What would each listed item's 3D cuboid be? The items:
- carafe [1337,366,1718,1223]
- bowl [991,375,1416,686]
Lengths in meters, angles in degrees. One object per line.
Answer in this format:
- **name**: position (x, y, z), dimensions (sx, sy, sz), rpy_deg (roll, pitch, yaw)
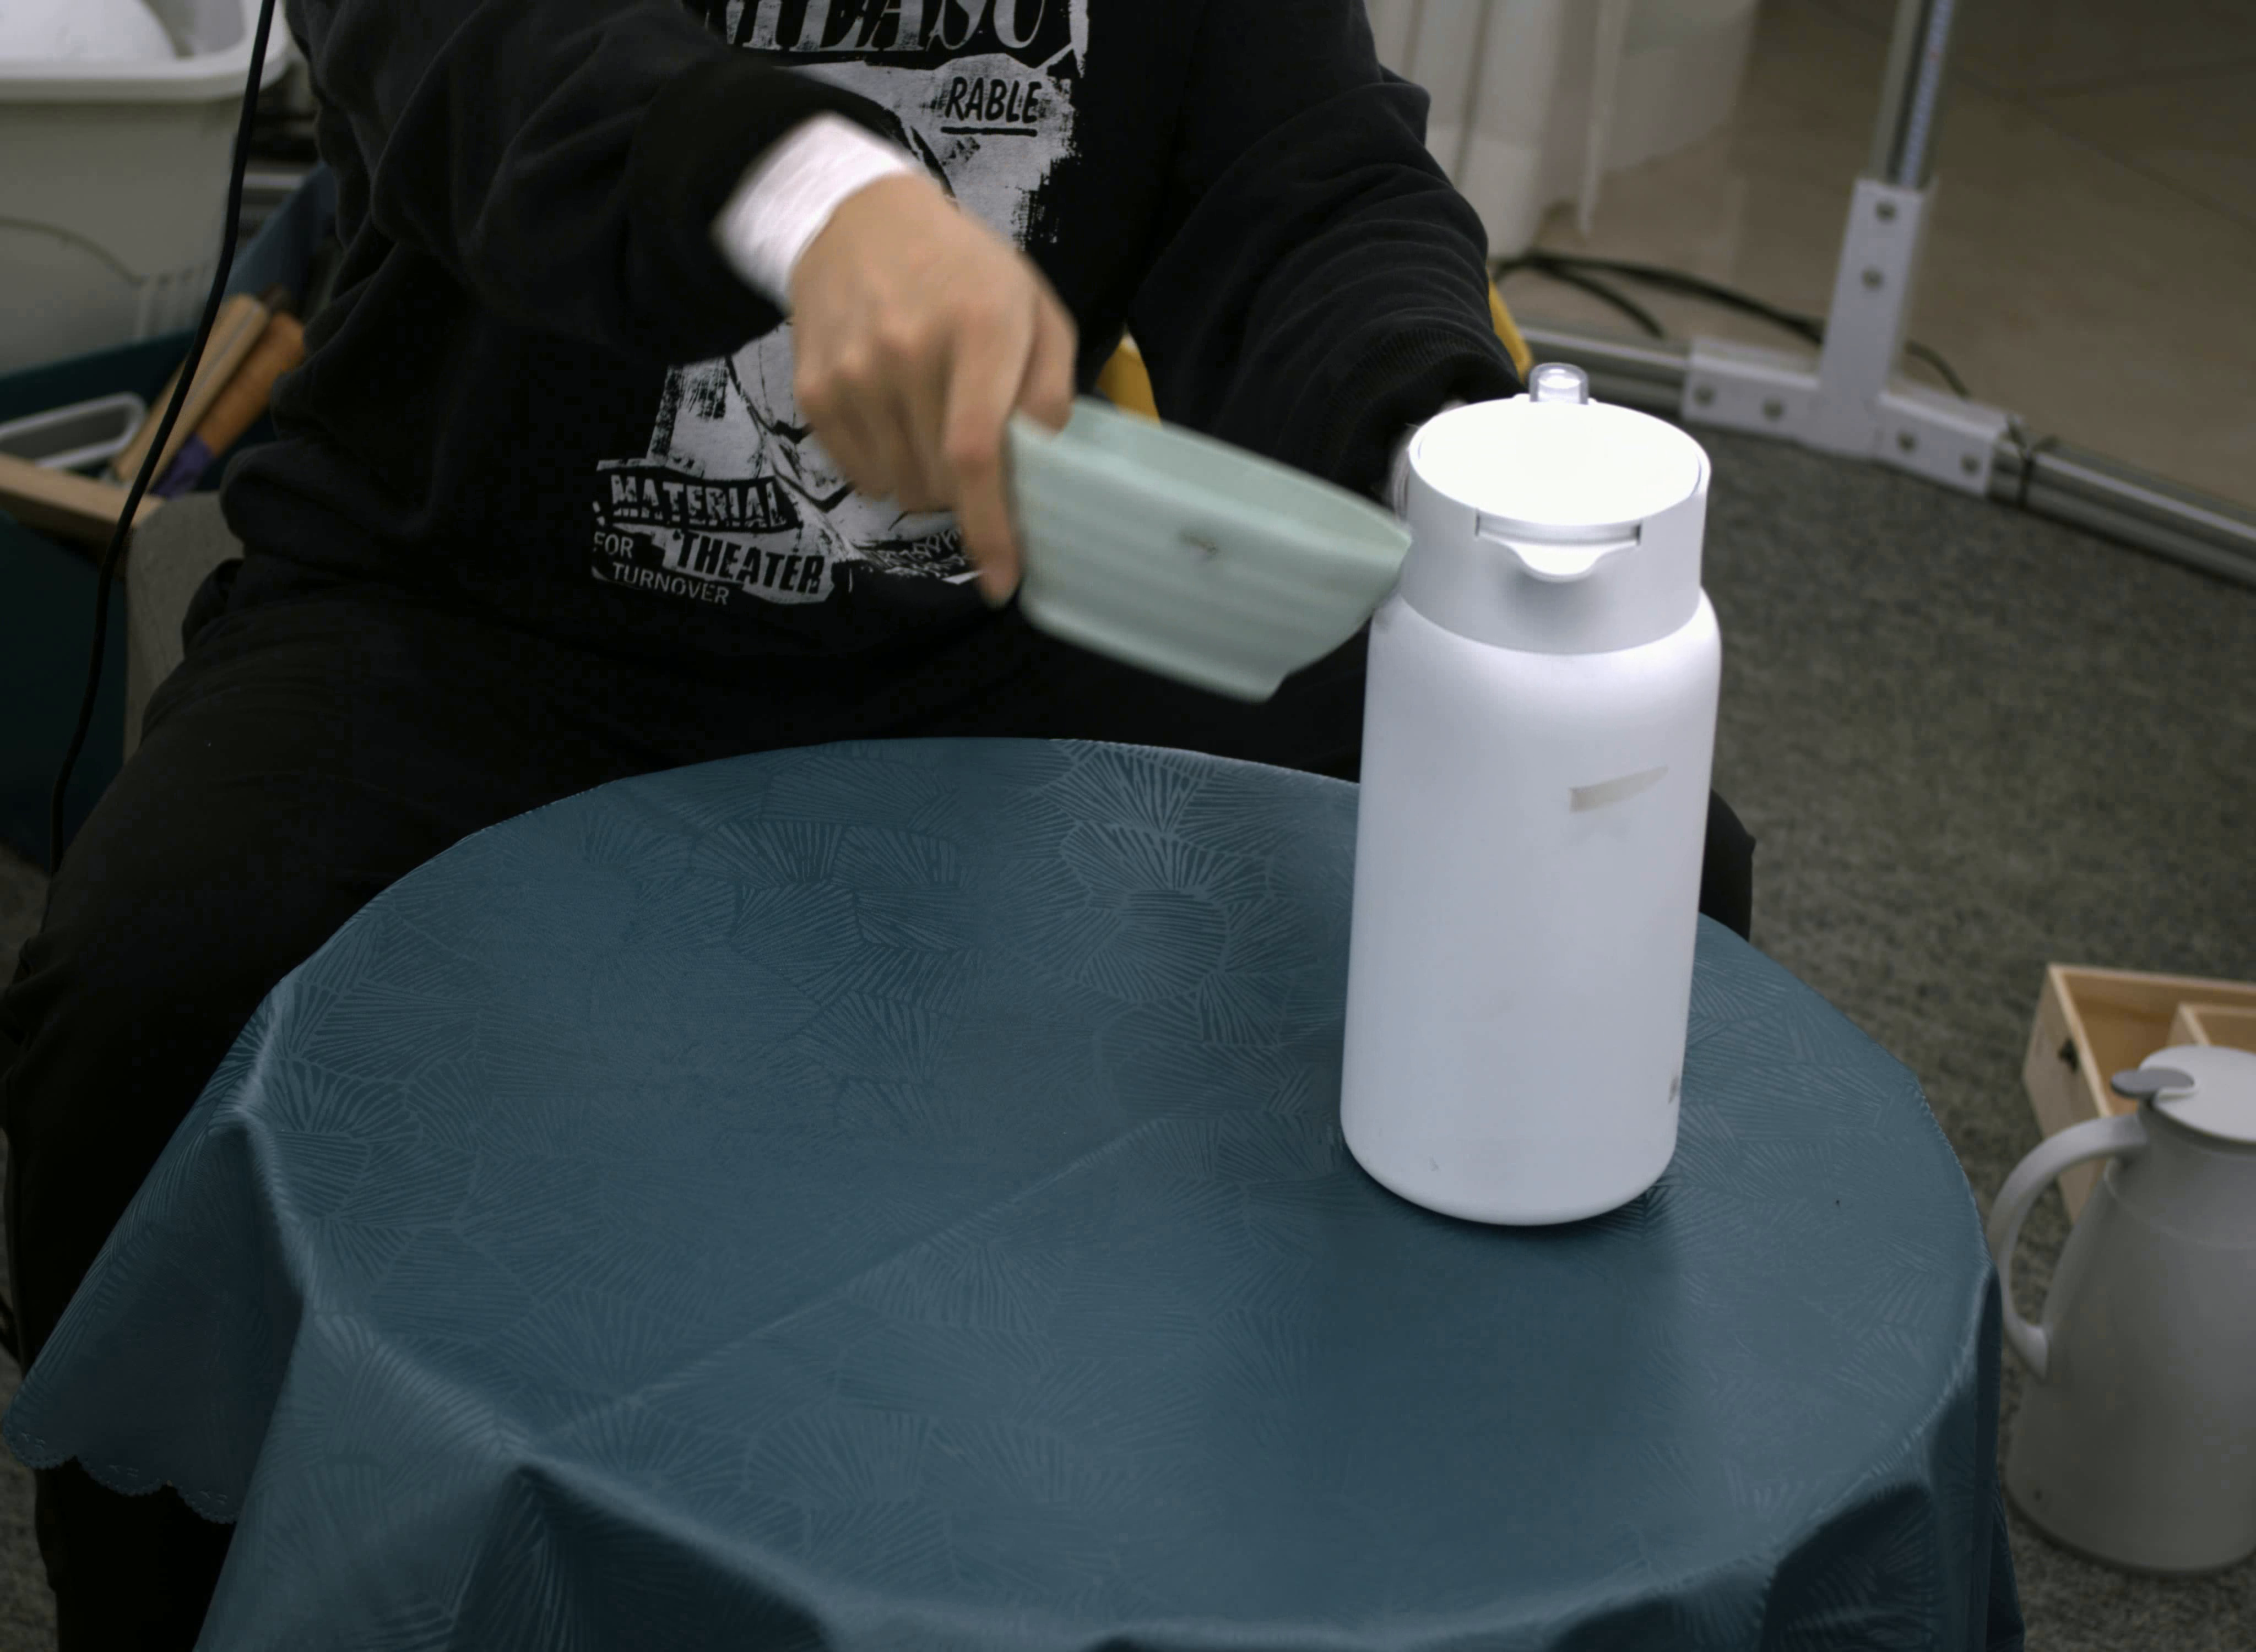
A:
- **carafe**: position (0.134, -0.014, 1.804), dimensions (0.123, 0.268, 0.174), rpy_deg (1, 28, 2)
- **bowl**: position (0.015, -0.088, 1.652), dimensions (0.151, 0.058, 0.152), rpy_deg (20, 9, -4)
